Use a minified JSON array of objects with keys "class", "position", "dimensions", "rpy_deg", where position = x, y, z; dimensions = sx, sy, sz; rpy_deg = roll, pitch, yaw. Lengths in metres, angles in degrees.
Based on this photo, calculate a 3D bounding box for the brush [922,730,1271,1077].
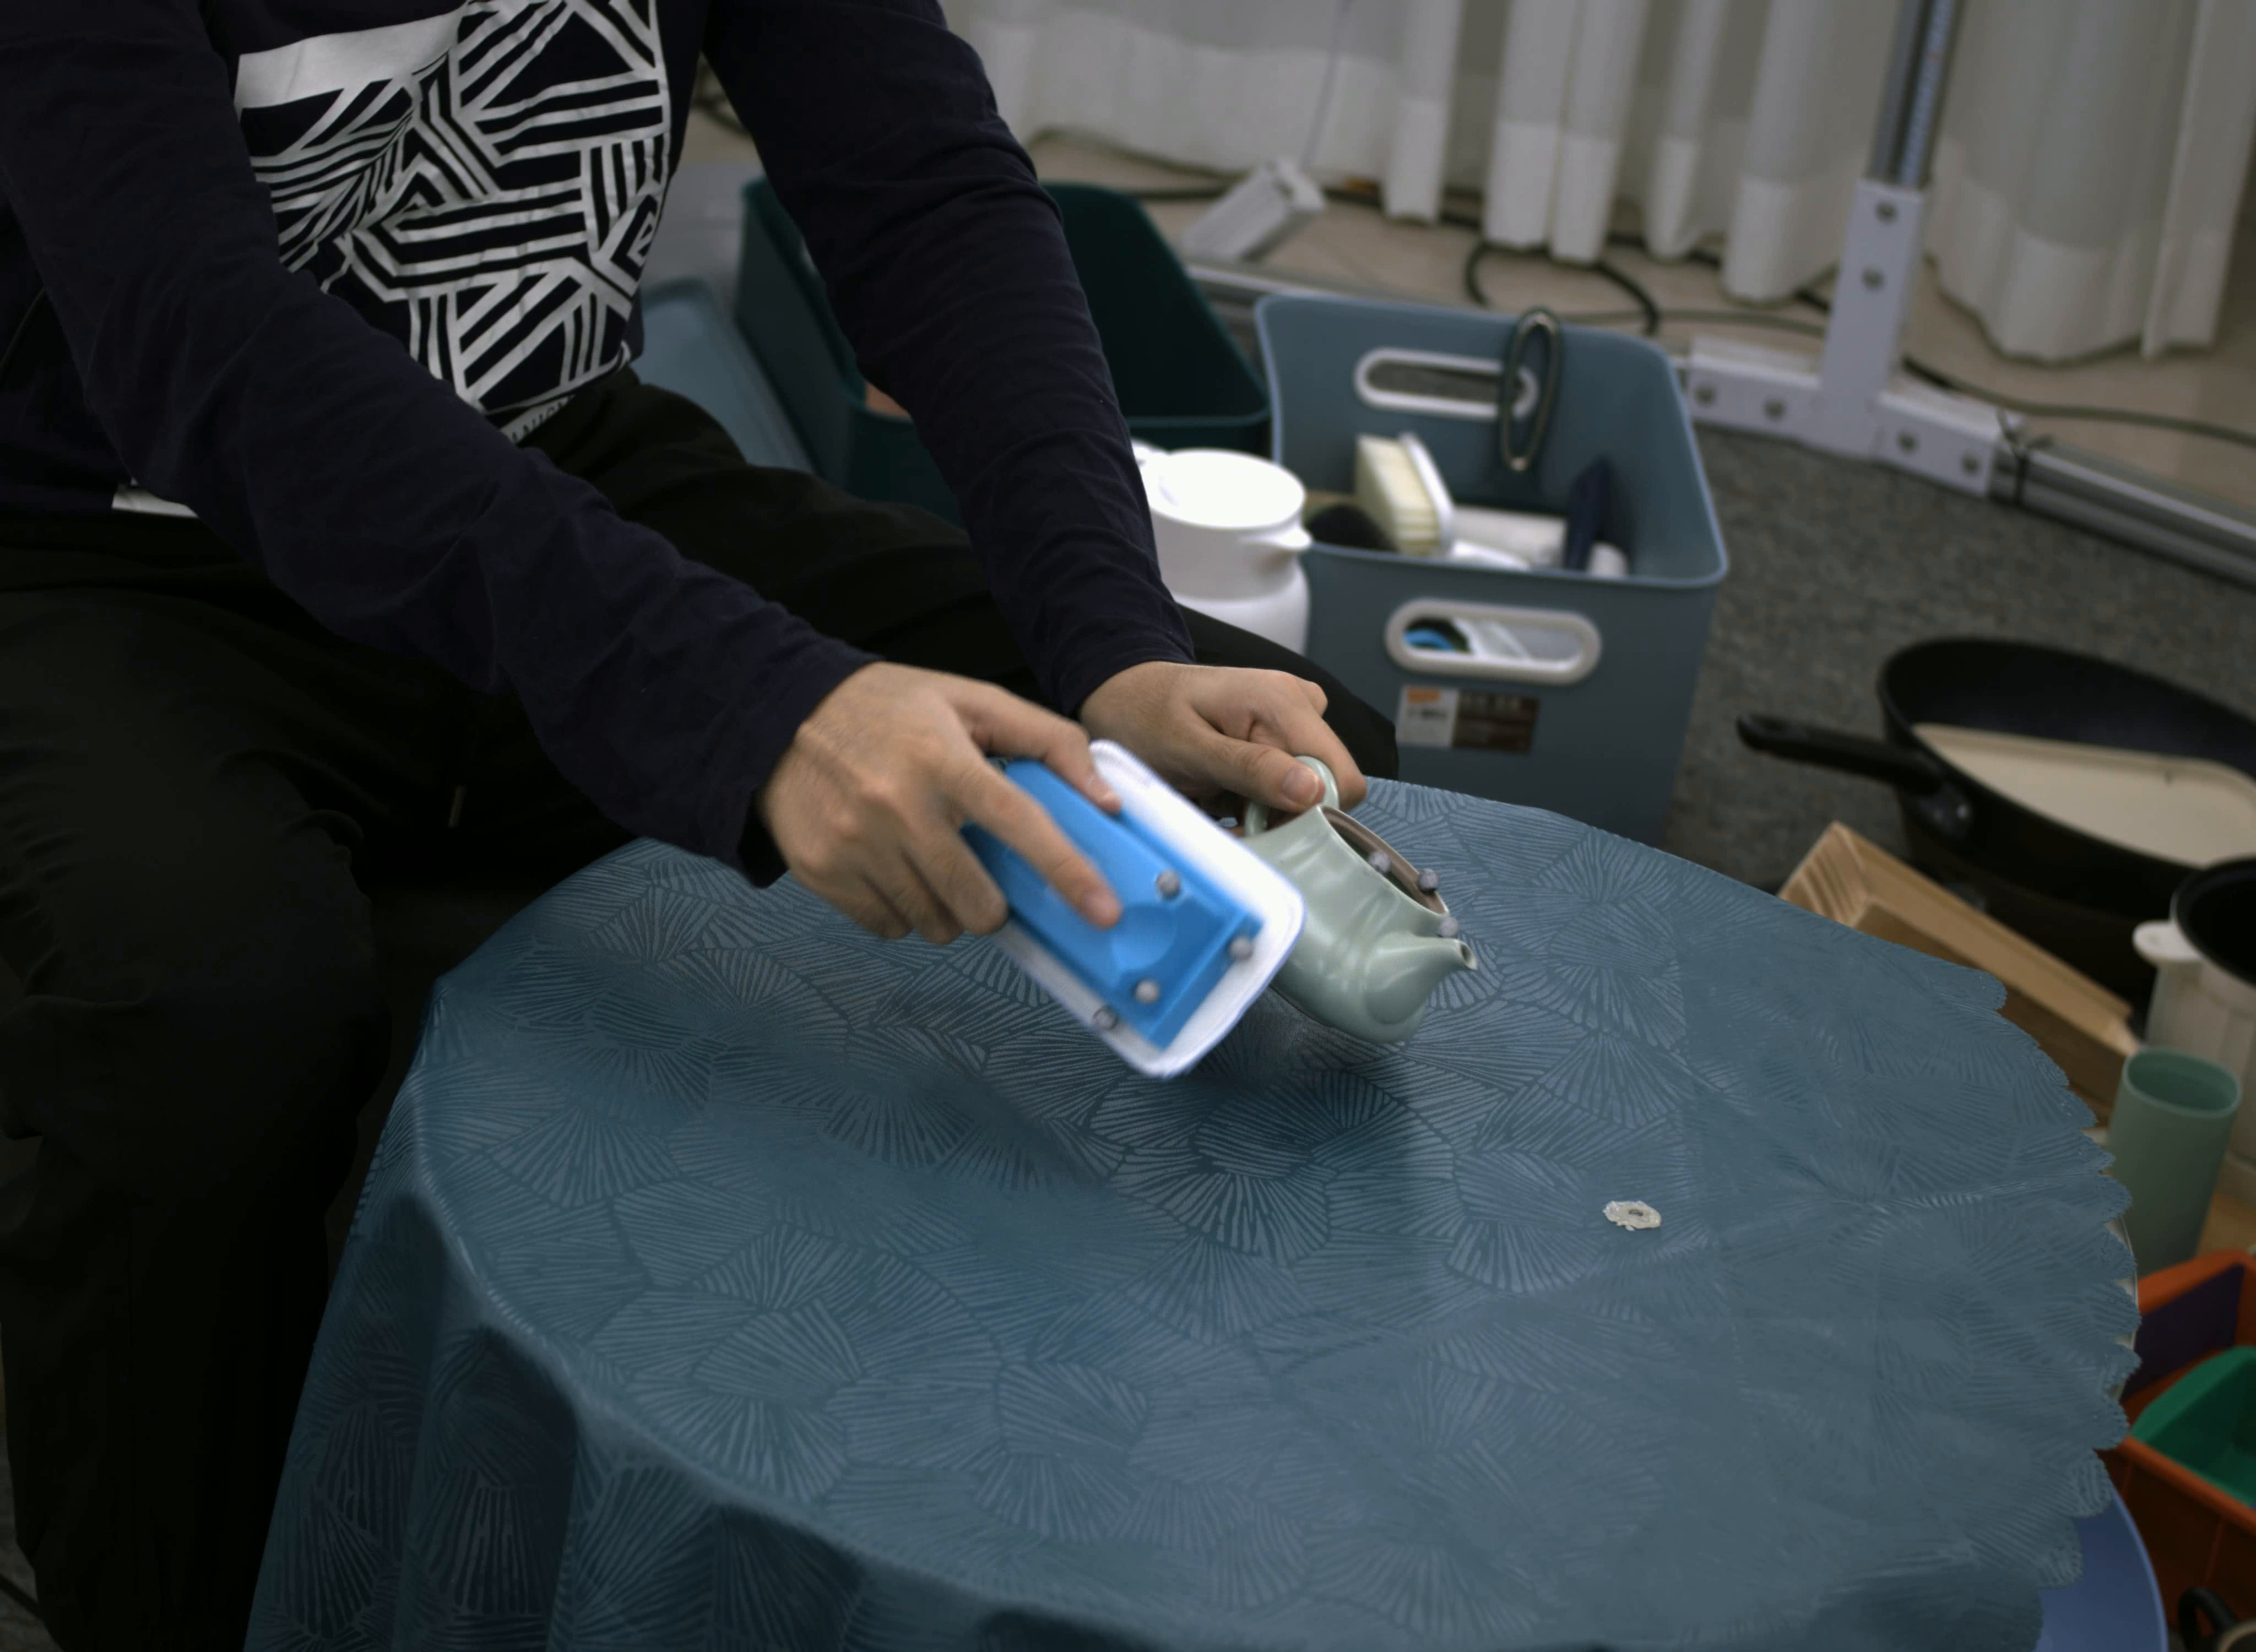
[{"class":"brush","position":[-0.018,0.020,1.814],"dimensions":[0.145,0.084,0.055],"rpy_deg":[43,0,44]}]

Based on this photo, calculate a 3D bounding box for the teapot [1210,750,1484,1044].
[{"class":"teapot","position":[0.074,0.029,1.894],"dimensions":[0.095,0.061,0.138],"rpy_deg":[26,20,-43]}]
